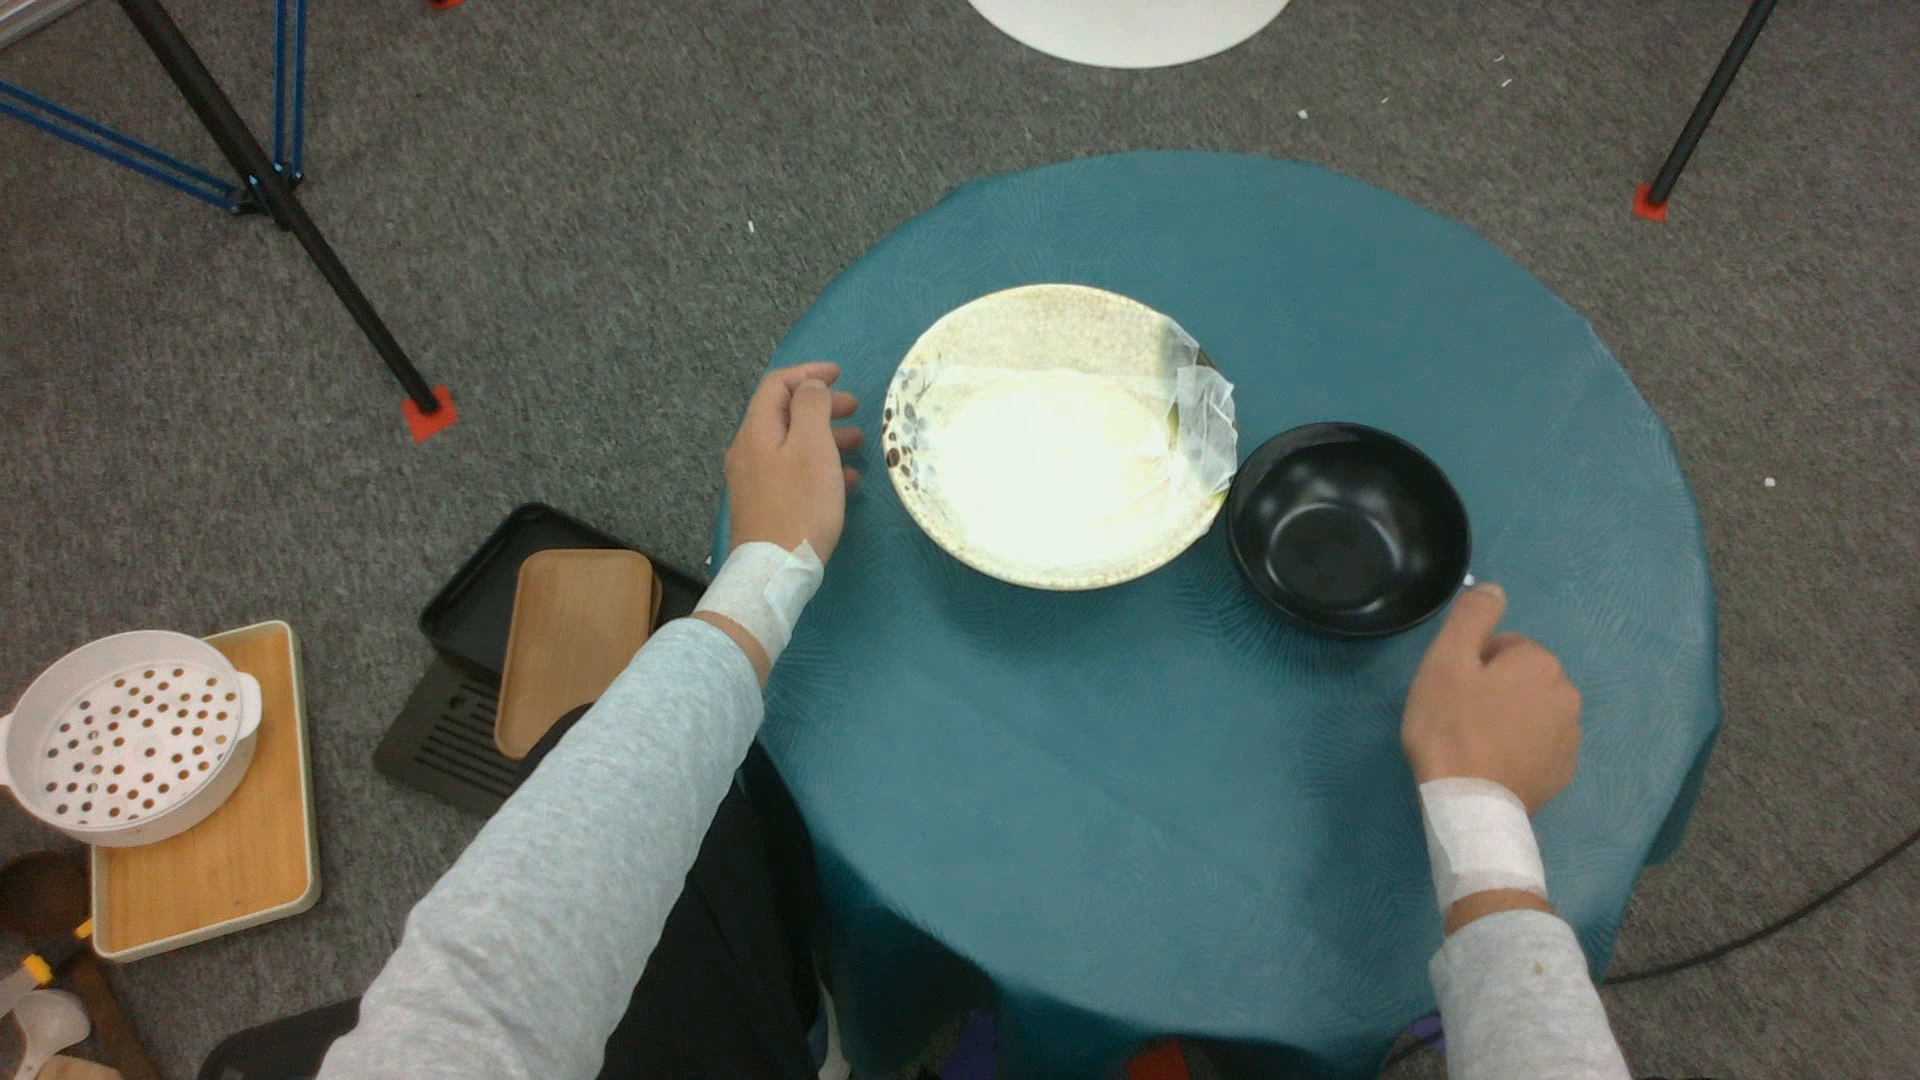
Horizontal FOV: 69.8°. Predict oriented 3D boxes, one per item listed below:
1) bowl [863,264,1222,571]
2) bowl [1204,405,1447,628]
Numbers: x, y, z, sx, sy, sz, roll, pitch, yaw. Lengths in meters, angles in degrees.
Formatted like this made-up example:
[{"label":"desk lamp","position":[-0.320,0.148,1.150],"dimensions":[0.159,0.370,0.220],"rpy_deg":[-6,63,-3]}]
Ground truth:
[{"label":"bowl","position":[0.047,-0.060,0.815],"dimensions":[0.204,0.077,0.205],"rpy_deg":[0,64,0]},{"label":"bowl","position":[0.210,-0.008,0.811],"dimensions":[0.140,0.049,0.140],"rpy_deg":[-1,66,1]}]
